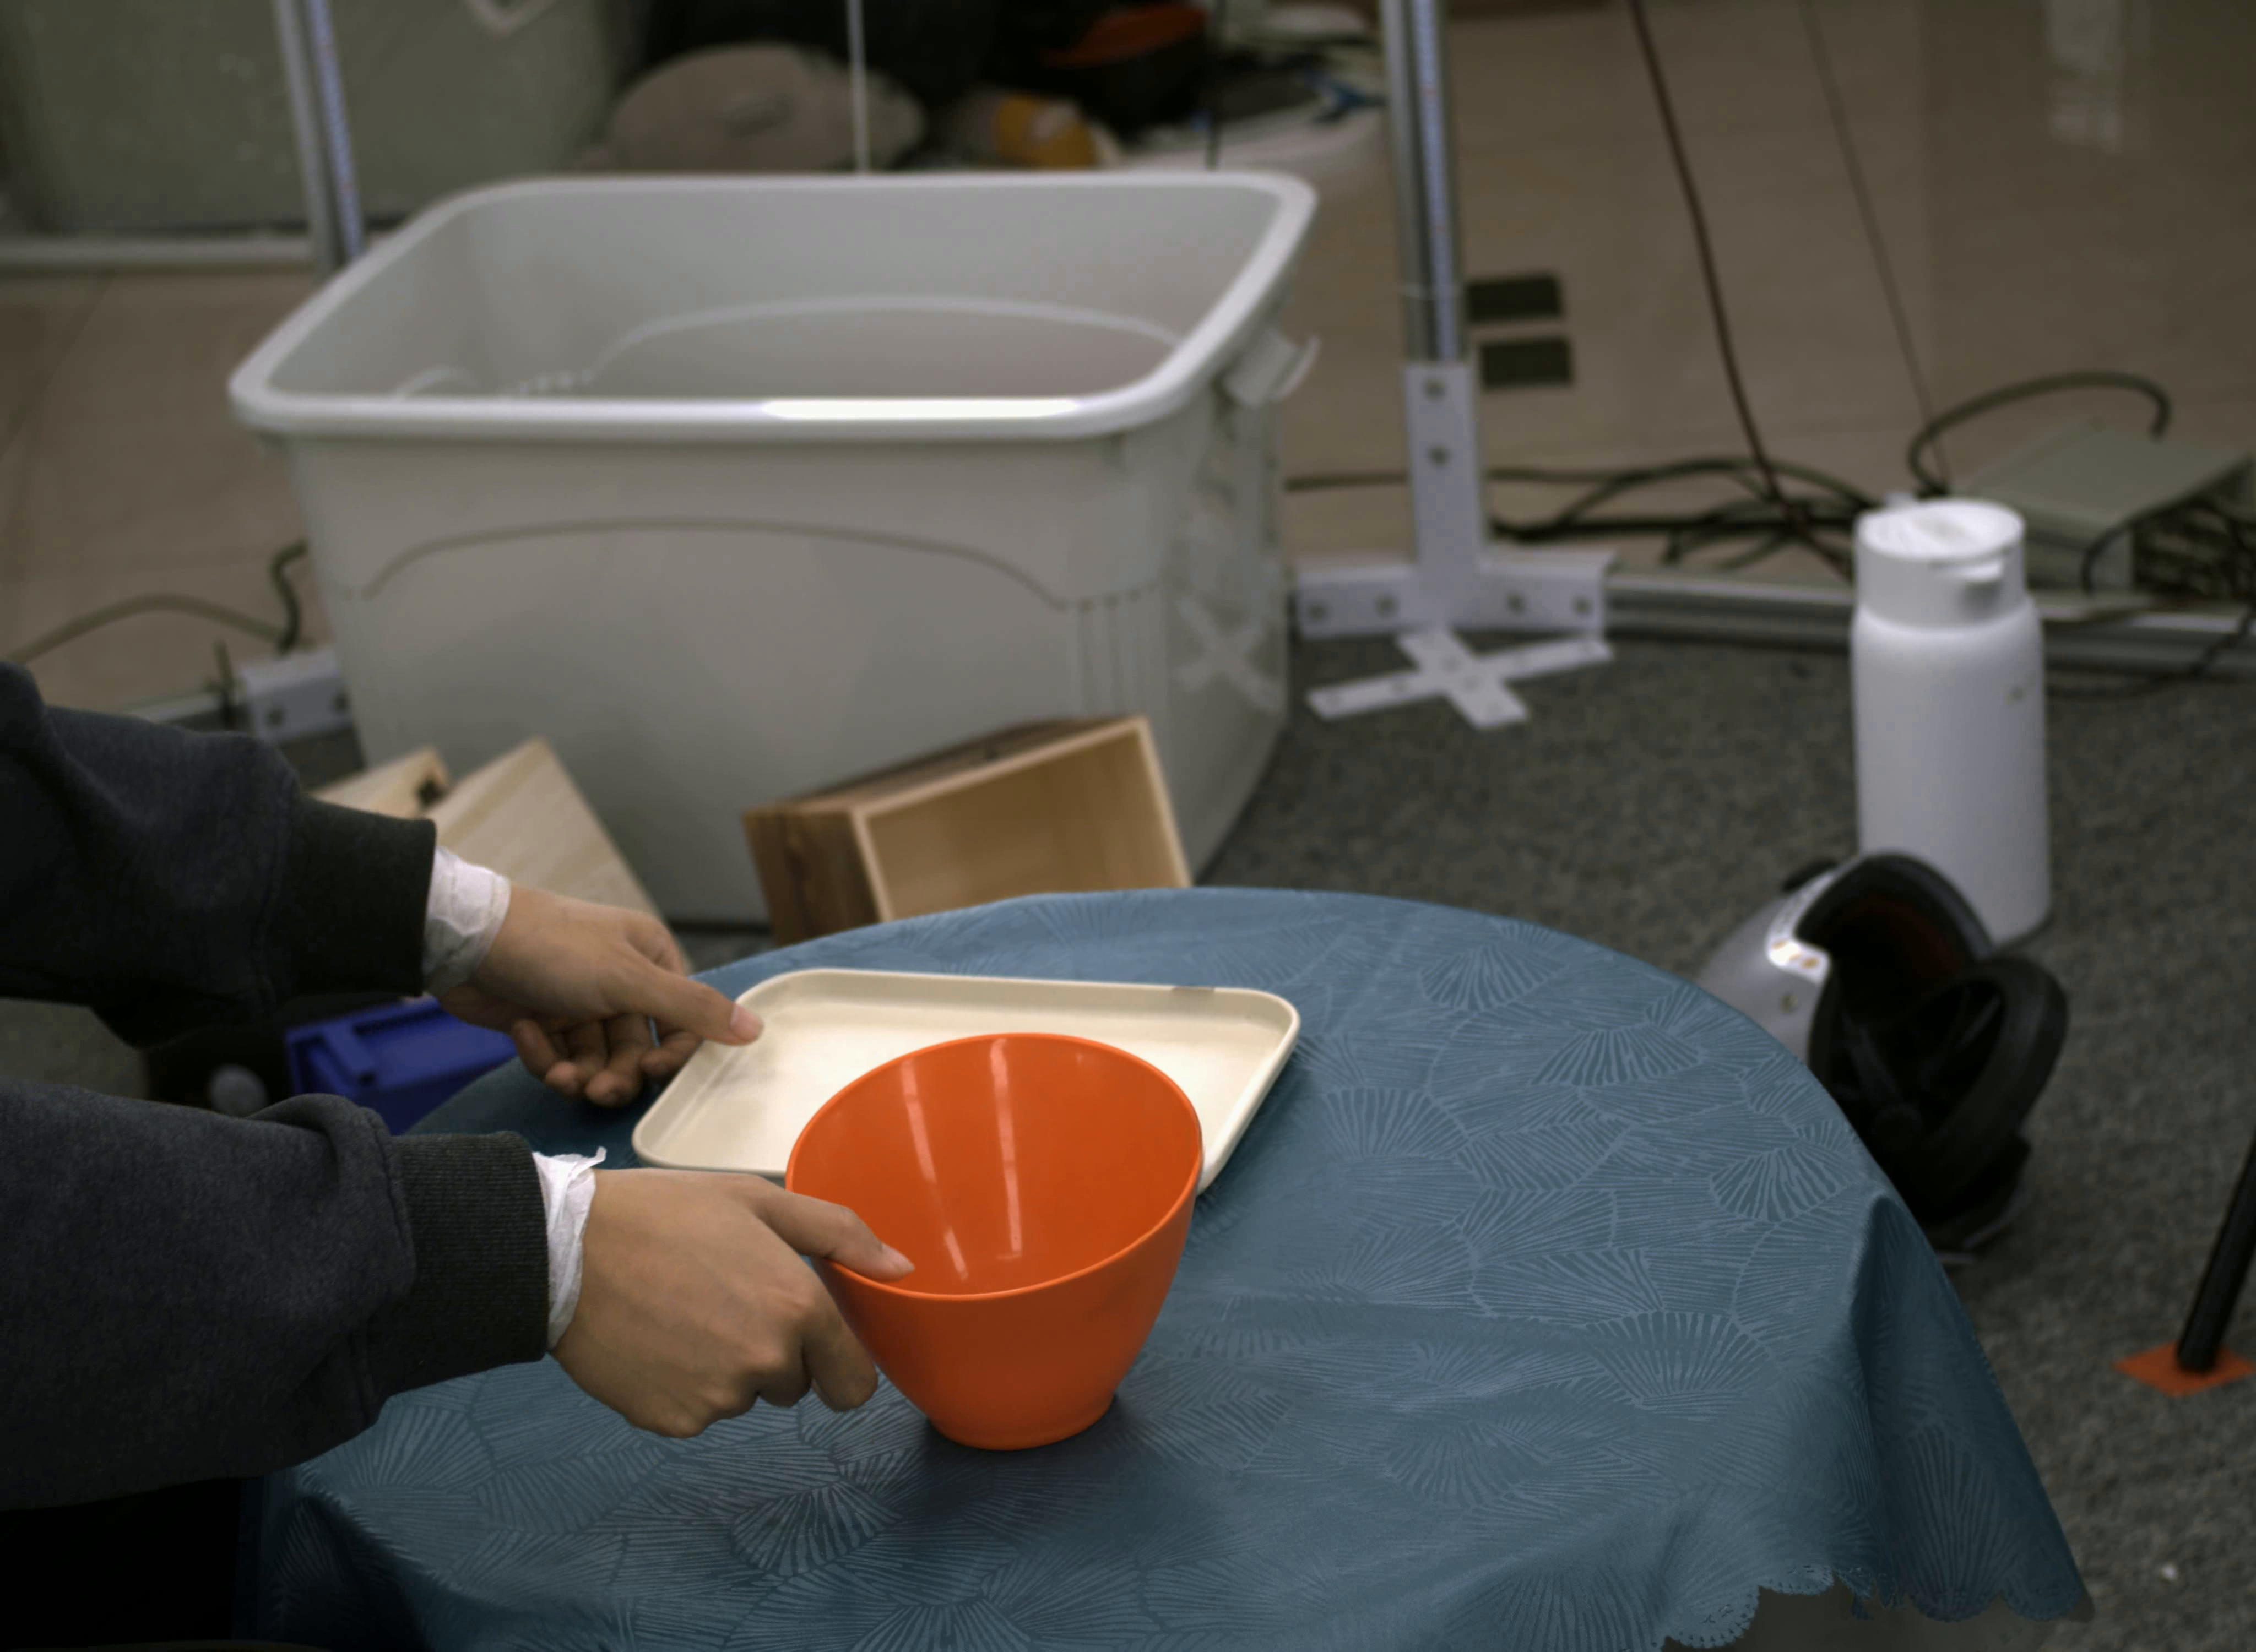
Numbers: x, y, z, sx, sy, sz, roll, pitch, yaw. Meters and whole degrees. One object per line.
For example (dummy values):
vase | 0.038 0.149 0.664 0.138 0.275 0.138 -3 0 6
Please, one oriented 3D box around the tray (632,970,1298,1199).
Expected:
tray | -0.062 0.104 2.216 0.239 0.018 0.169 2 27 18

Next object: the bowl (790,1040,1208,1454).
bowl | -0.042 0.155 2.002 0.148 0.106 0.146 -4 25 2
